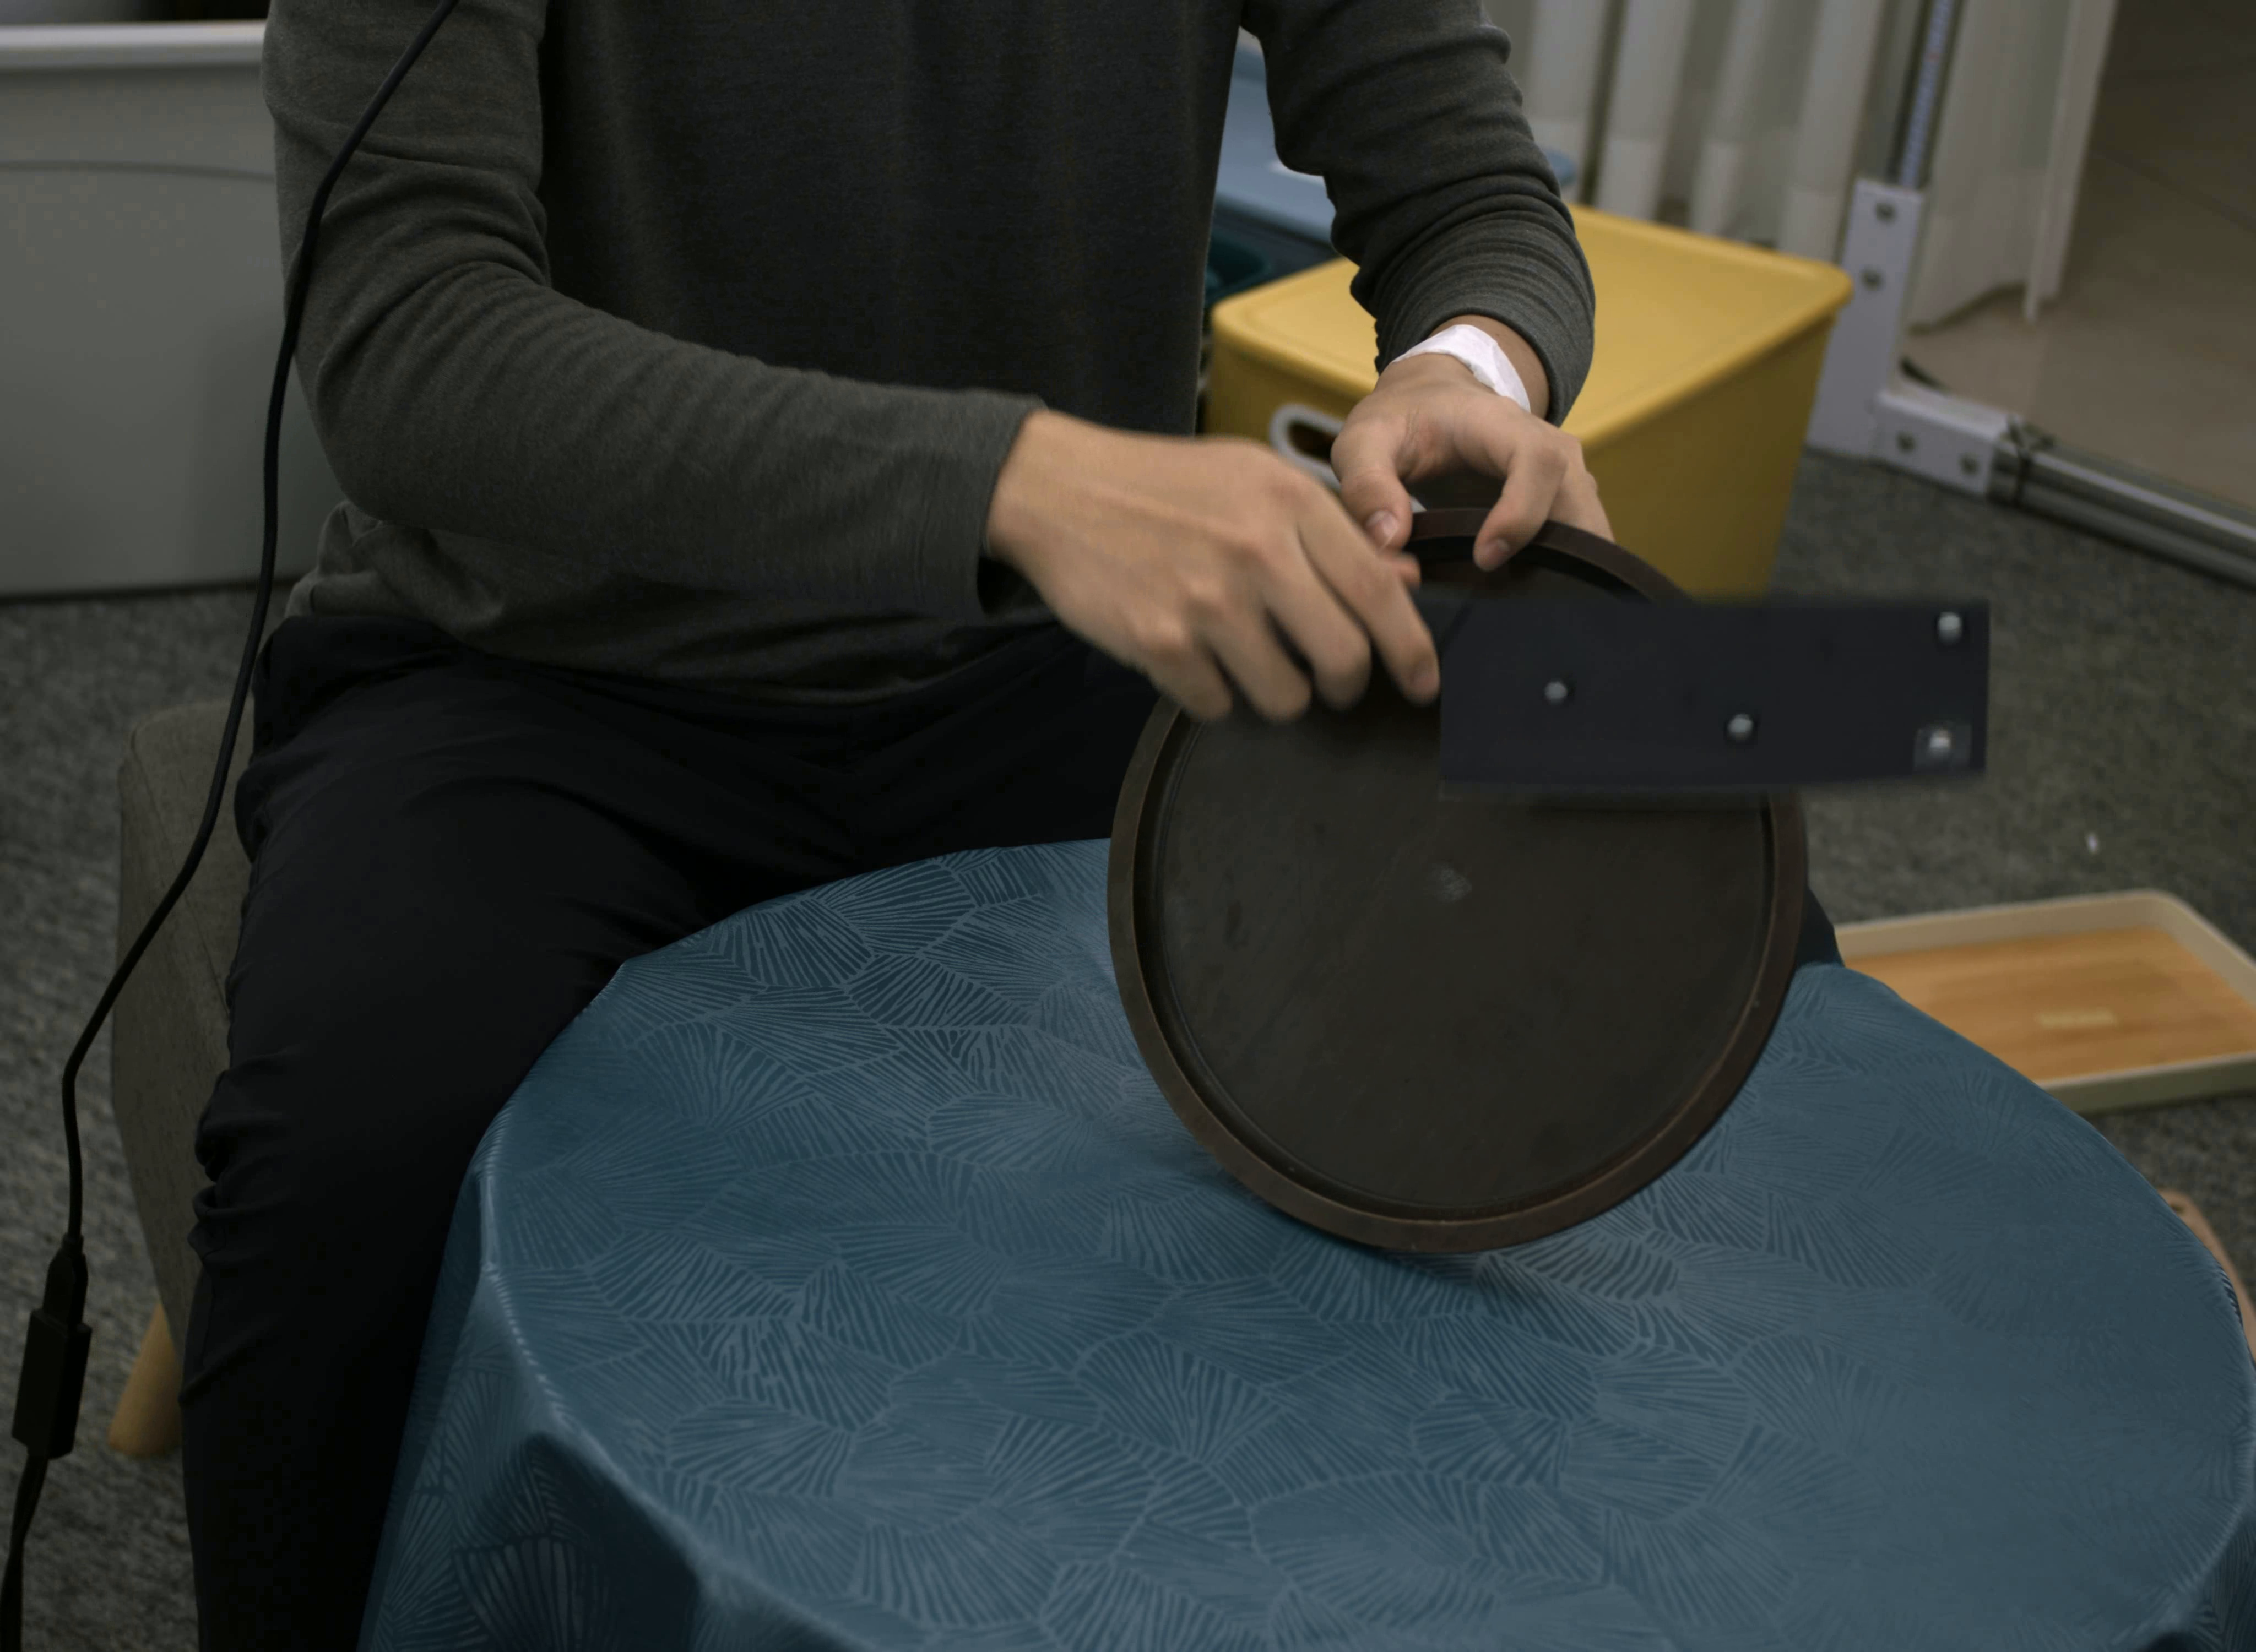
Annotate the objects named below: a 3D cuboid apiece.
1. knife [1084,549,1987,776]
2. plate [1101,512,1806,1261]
[{"bbox_3d":[0.133,-0.056,1.759,0.302,0.081,0.021,4,-6,14],"label":"knife"},{"bbox_3d":[0.109,0.020,1.795,0.256,0.255,0.029,21,4,26],"label":"plate"}]
